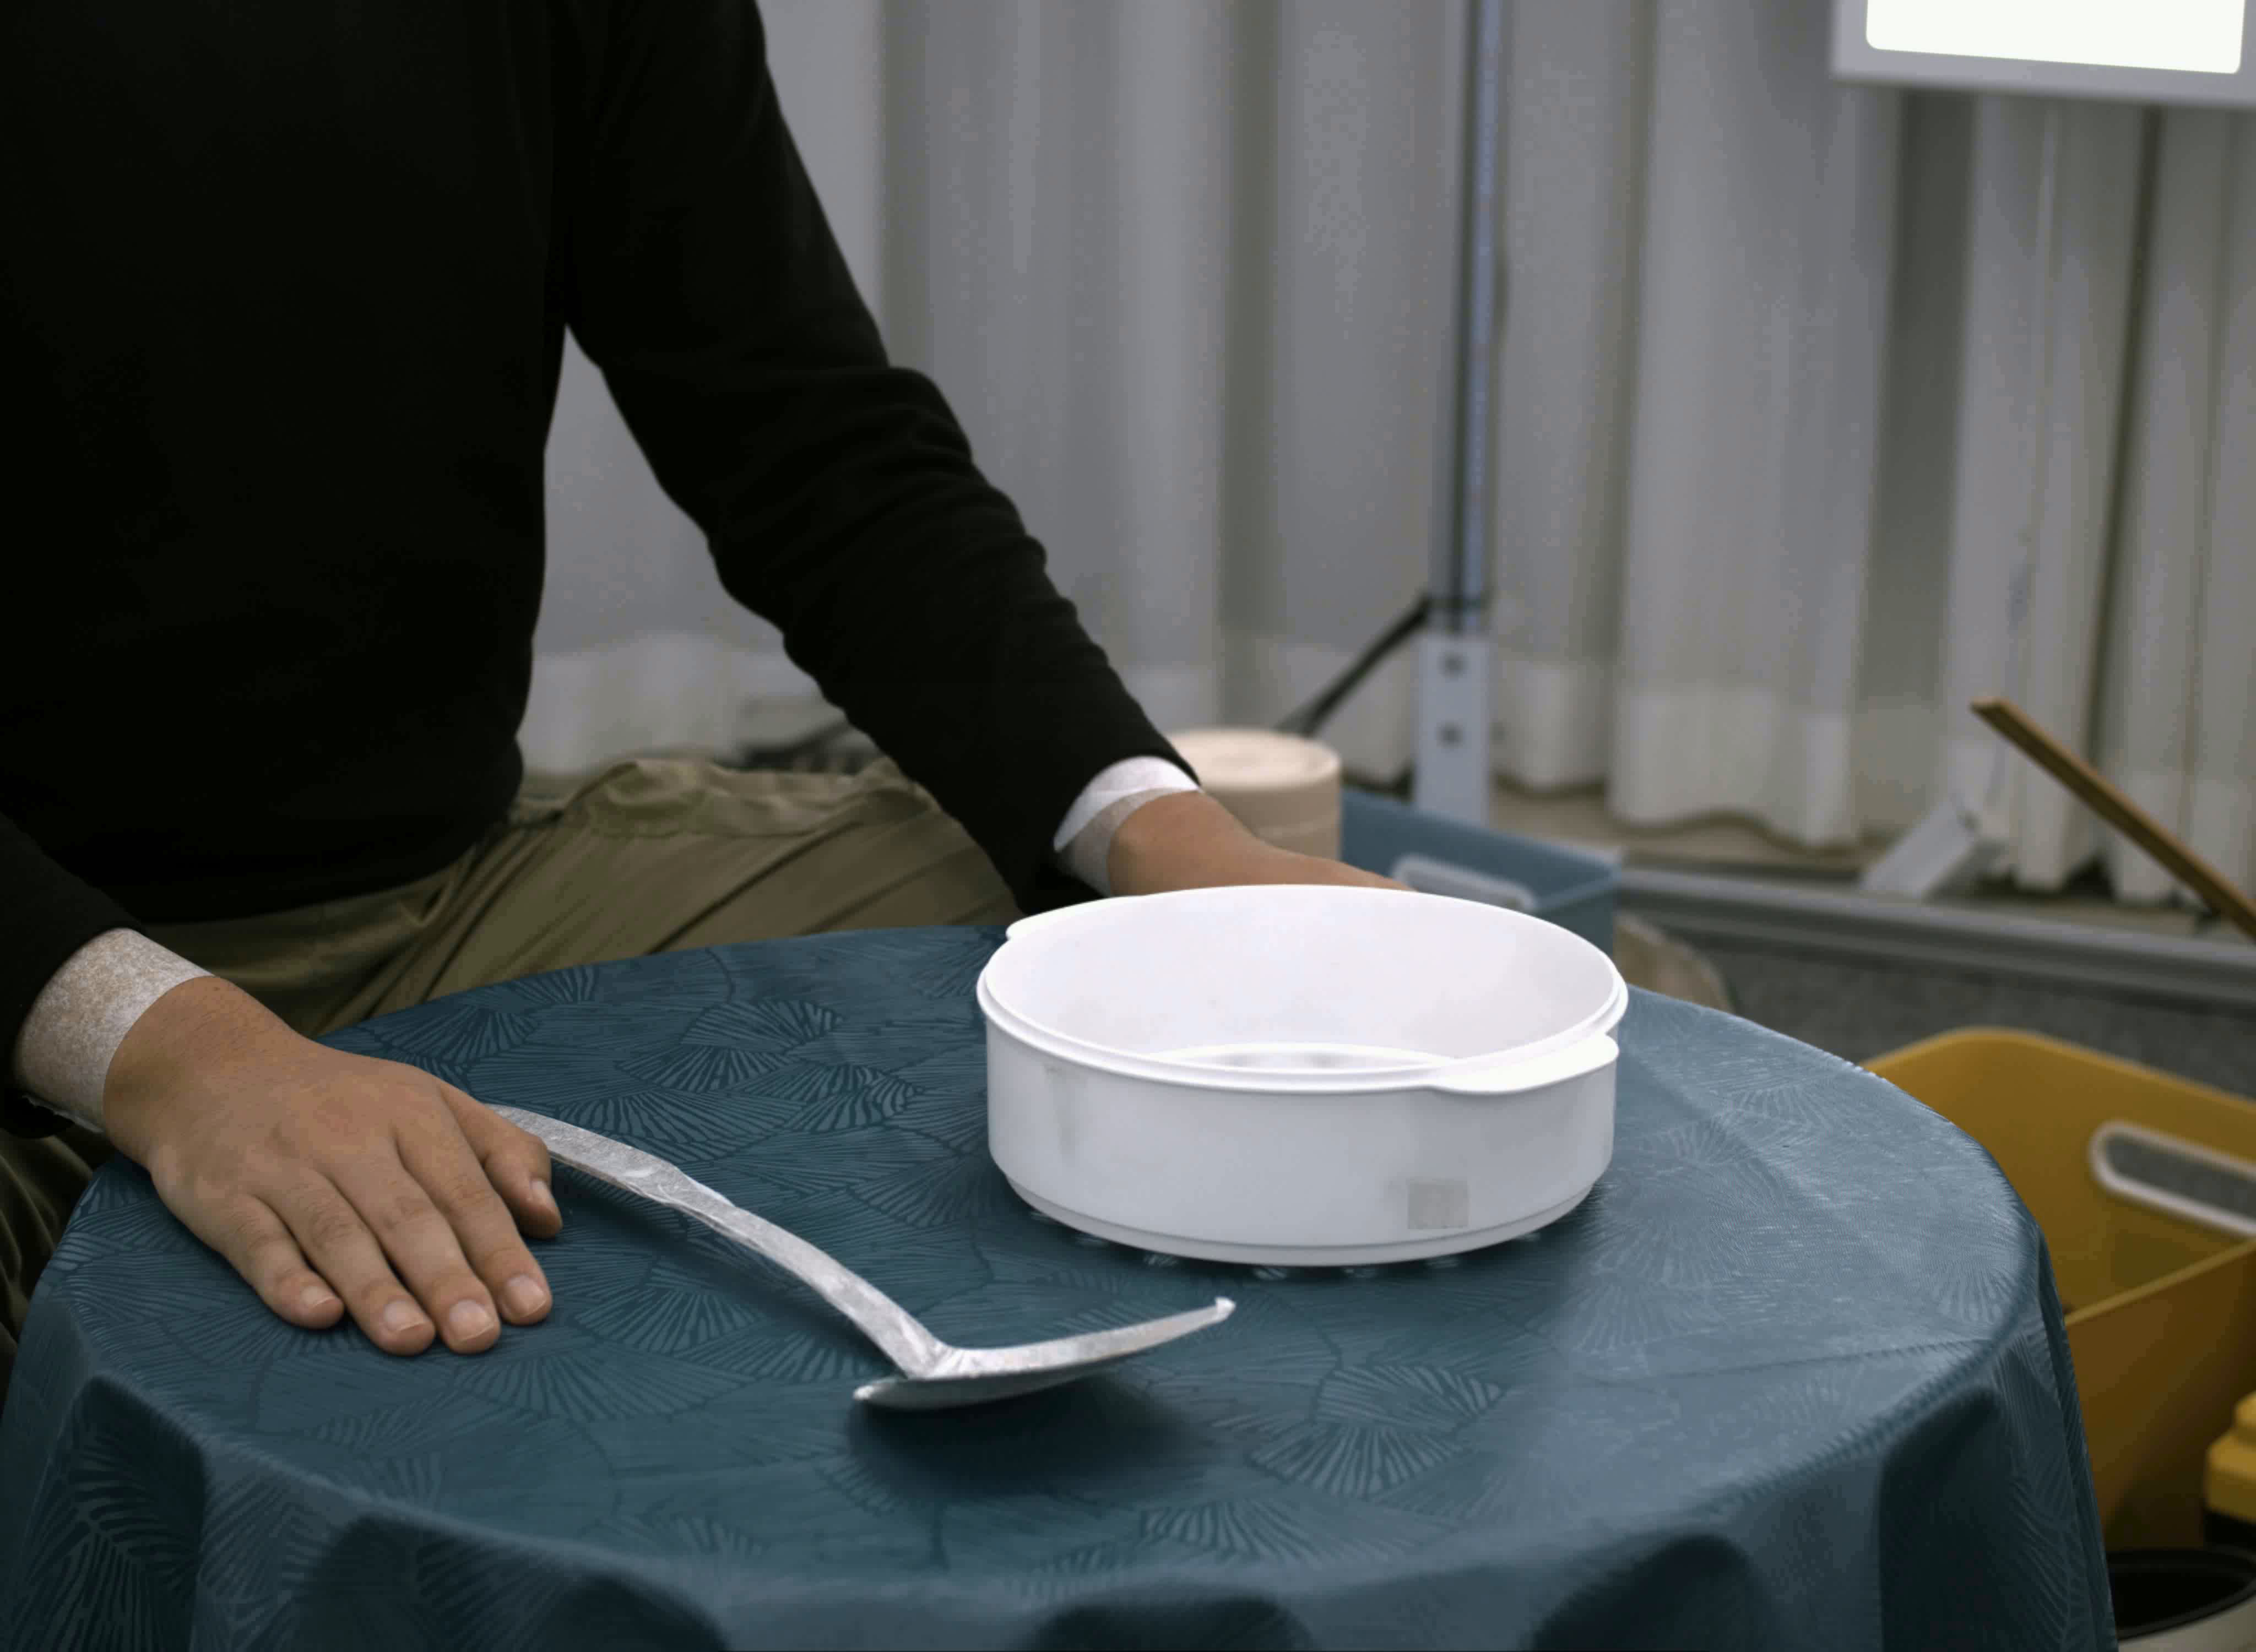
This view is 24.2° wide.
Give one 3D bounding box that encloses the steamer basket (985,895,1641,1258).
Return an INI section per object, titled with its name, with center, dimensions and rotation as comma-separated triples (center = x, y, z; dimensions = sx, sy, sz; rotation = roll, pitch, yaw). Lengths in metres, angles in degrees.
[steamer basket]
center = 0.056, 0.077, 1.620
dimensions = 0.203, 0.070, 0.227
rotation = -11, 18, -40

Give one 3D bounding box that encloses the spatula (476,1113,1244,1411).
[spatula]
center = -0.103, 0.117, 1.532
dimensions = 0.099, 0.045, 0.360
rotation = -13, 20, -34
